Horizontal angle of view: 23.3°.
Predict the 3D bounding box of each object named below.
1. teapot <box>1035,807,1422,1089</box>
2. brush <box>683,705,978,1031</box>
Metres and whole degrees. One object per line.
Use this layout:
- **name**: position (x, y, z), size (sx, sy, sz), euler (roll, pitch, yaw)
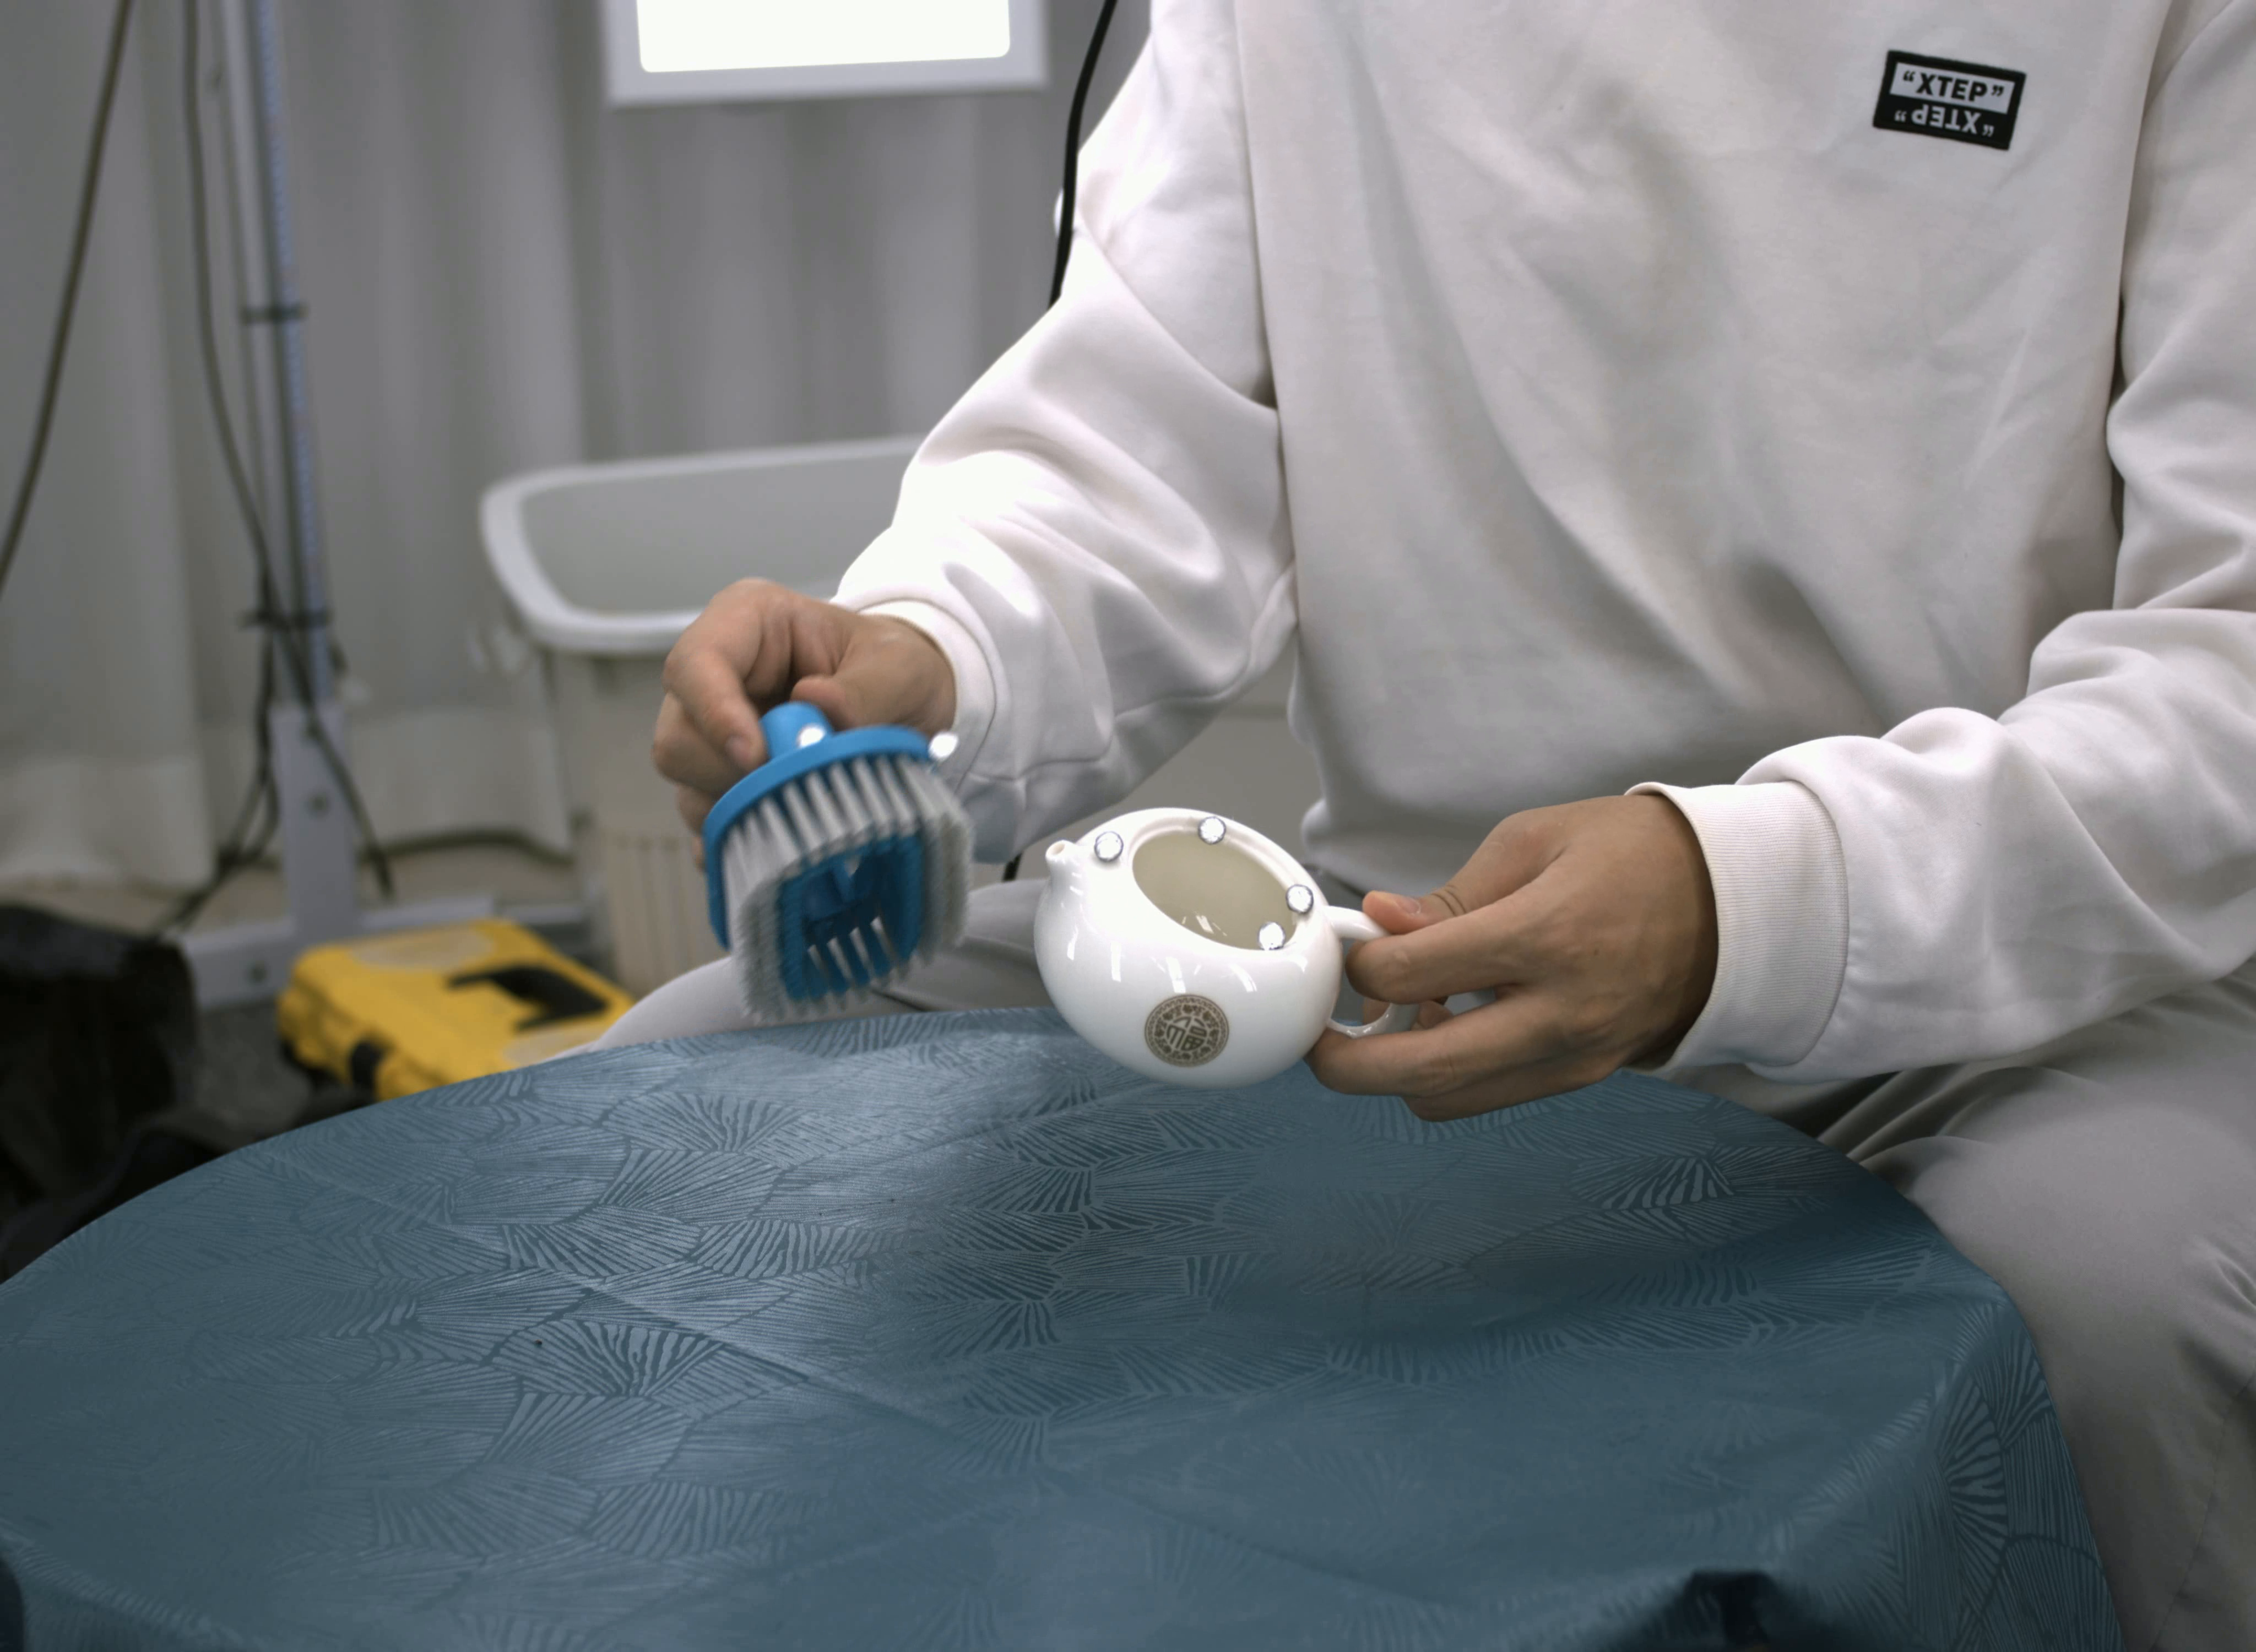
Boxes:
- **teapot**: position (0.028, 0.039, 1.614), size (0.126, 0.056, 0.095), euler (12, 34, -19)
- **brush**: position (-0.095, 0.005, 1.651), size (0.084, 0.064, 0.140), euler (-25, -21, -11)
